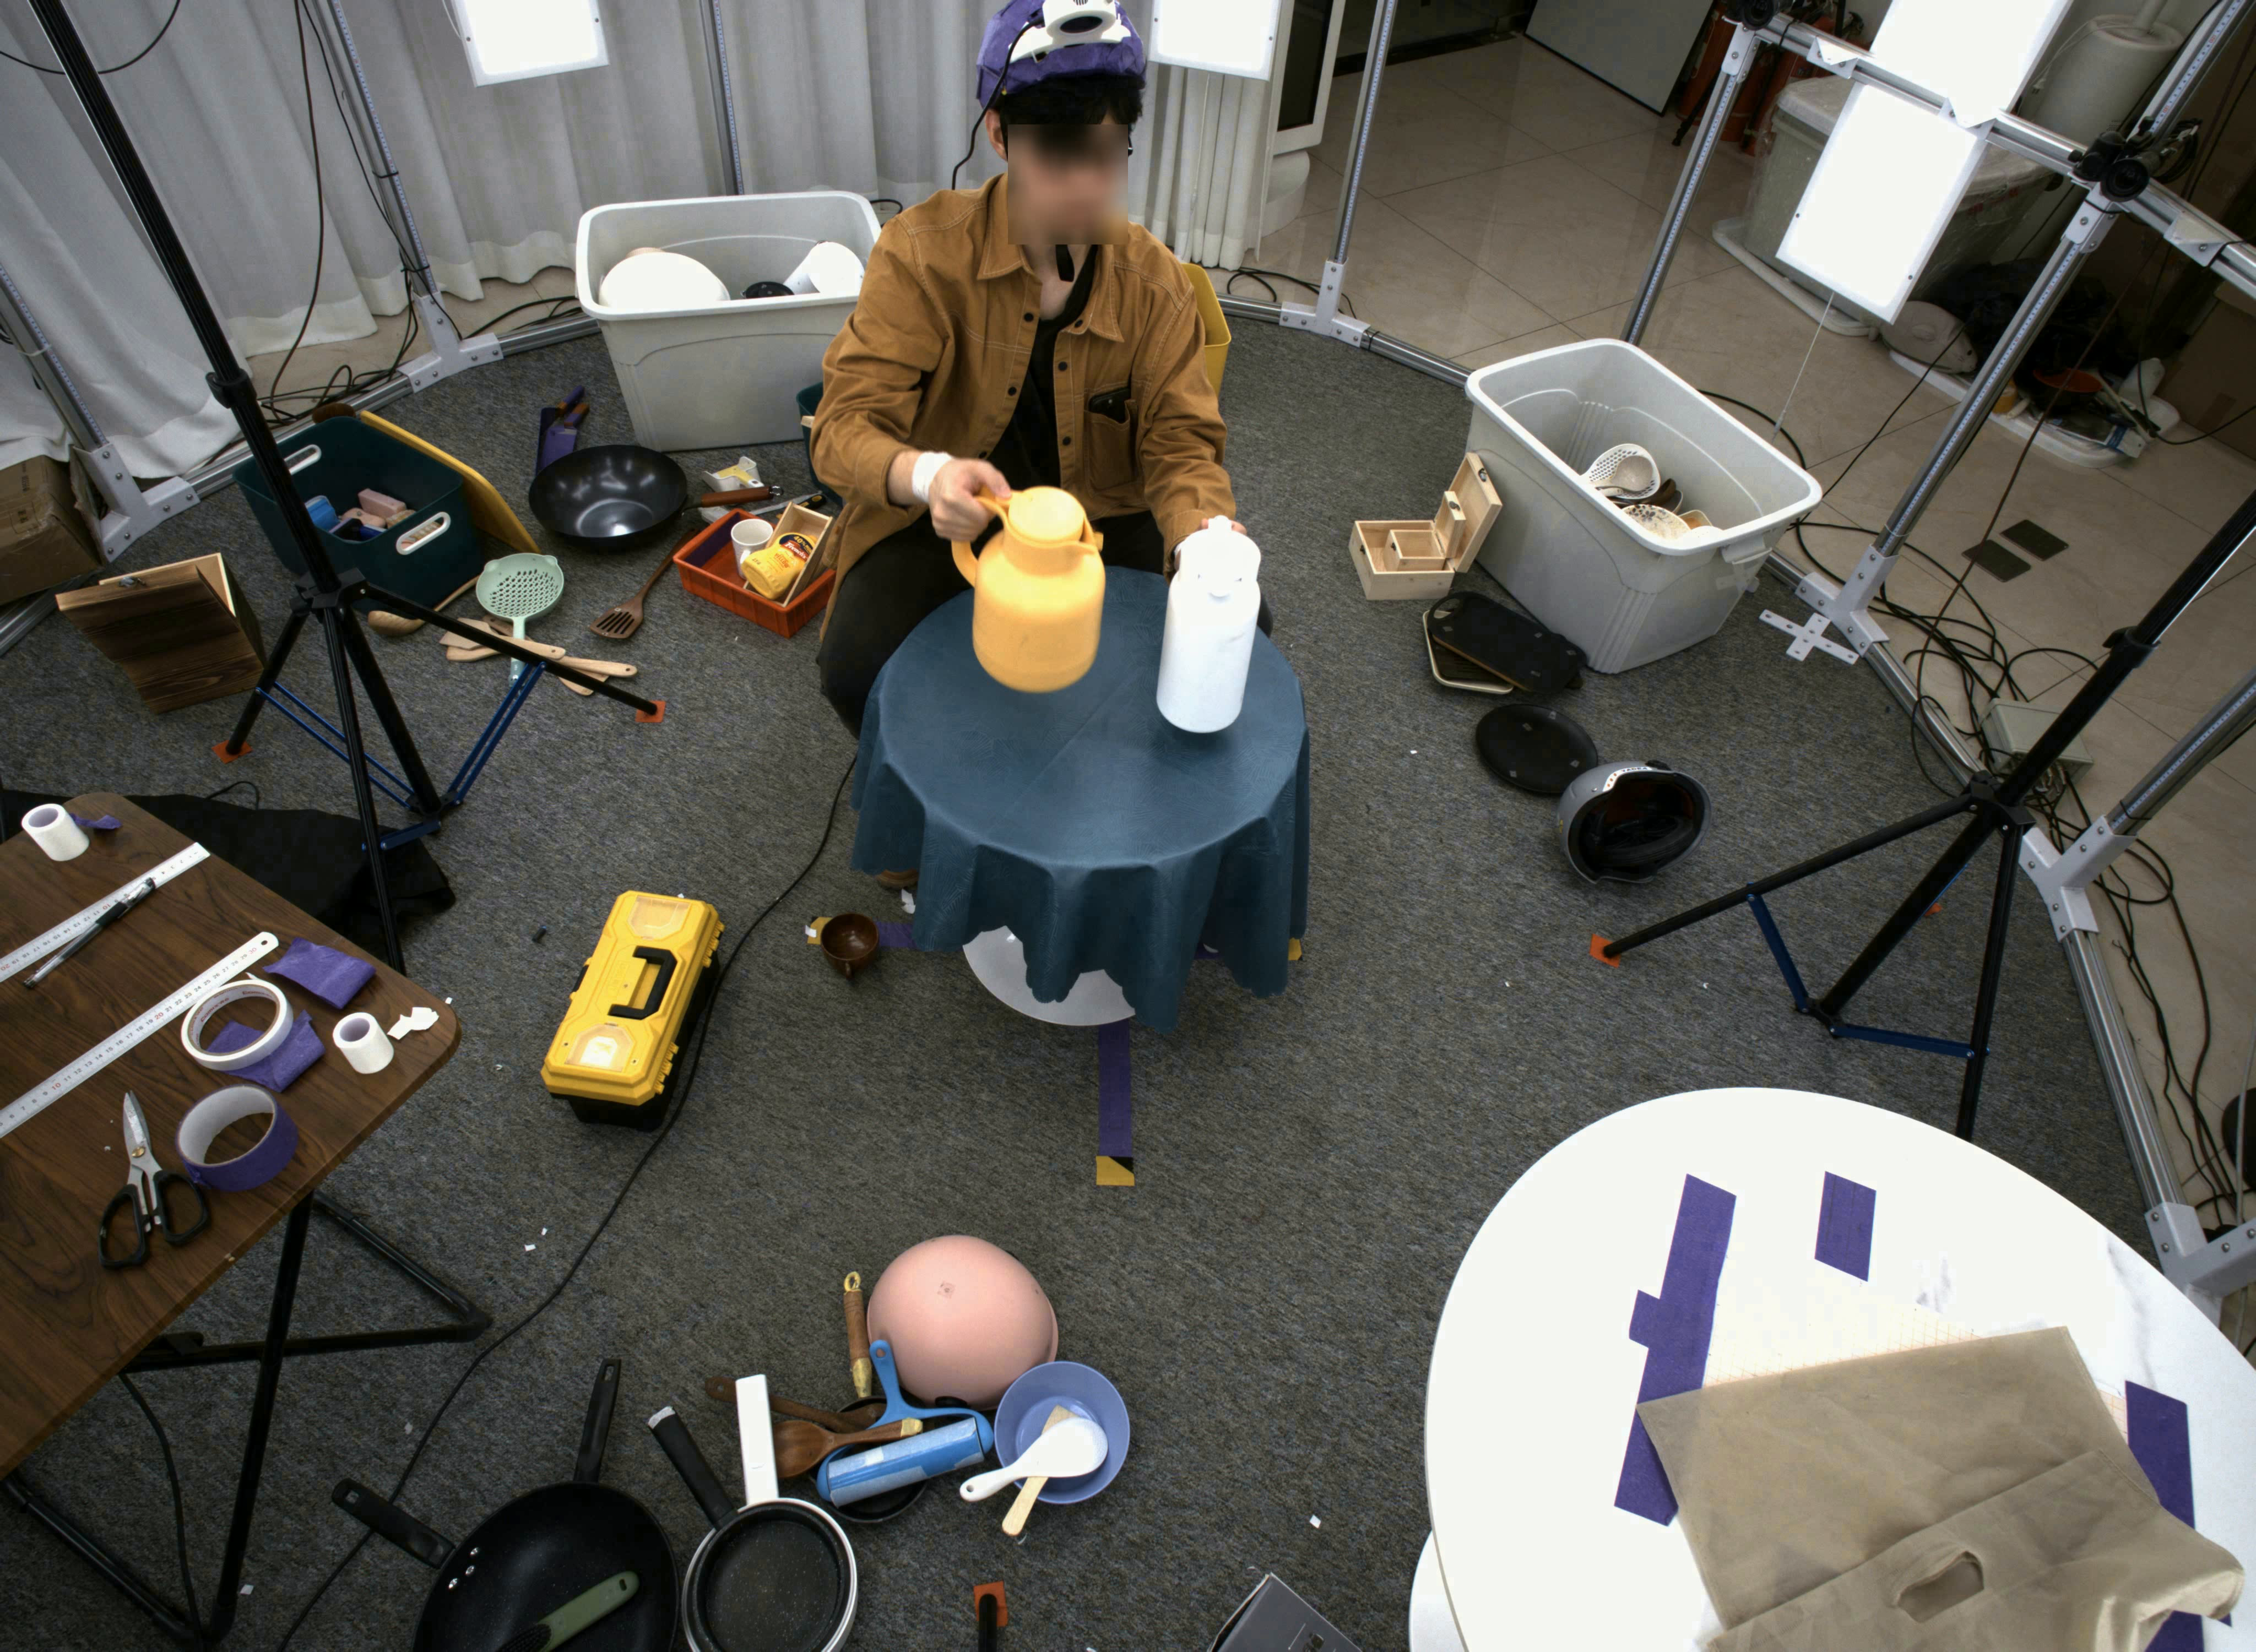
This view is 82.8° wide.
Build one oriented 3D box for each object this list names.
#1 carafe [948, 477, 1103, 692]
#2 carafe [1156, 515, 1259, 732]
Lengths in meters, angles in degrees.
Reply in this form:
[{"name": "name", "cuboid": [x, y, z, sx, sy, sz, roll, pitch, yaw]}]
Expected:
[{"name": "carafe", "cuboid": [-0.129, -0.308, 1.584, 0.203, 0.254, 0.166, 29, 53, 11]}, {"name": "carafe", "cuboid": [0.103, -0.264, 1.673, 0.124, 0.262, 0.177, 3, 49, 1]}]
